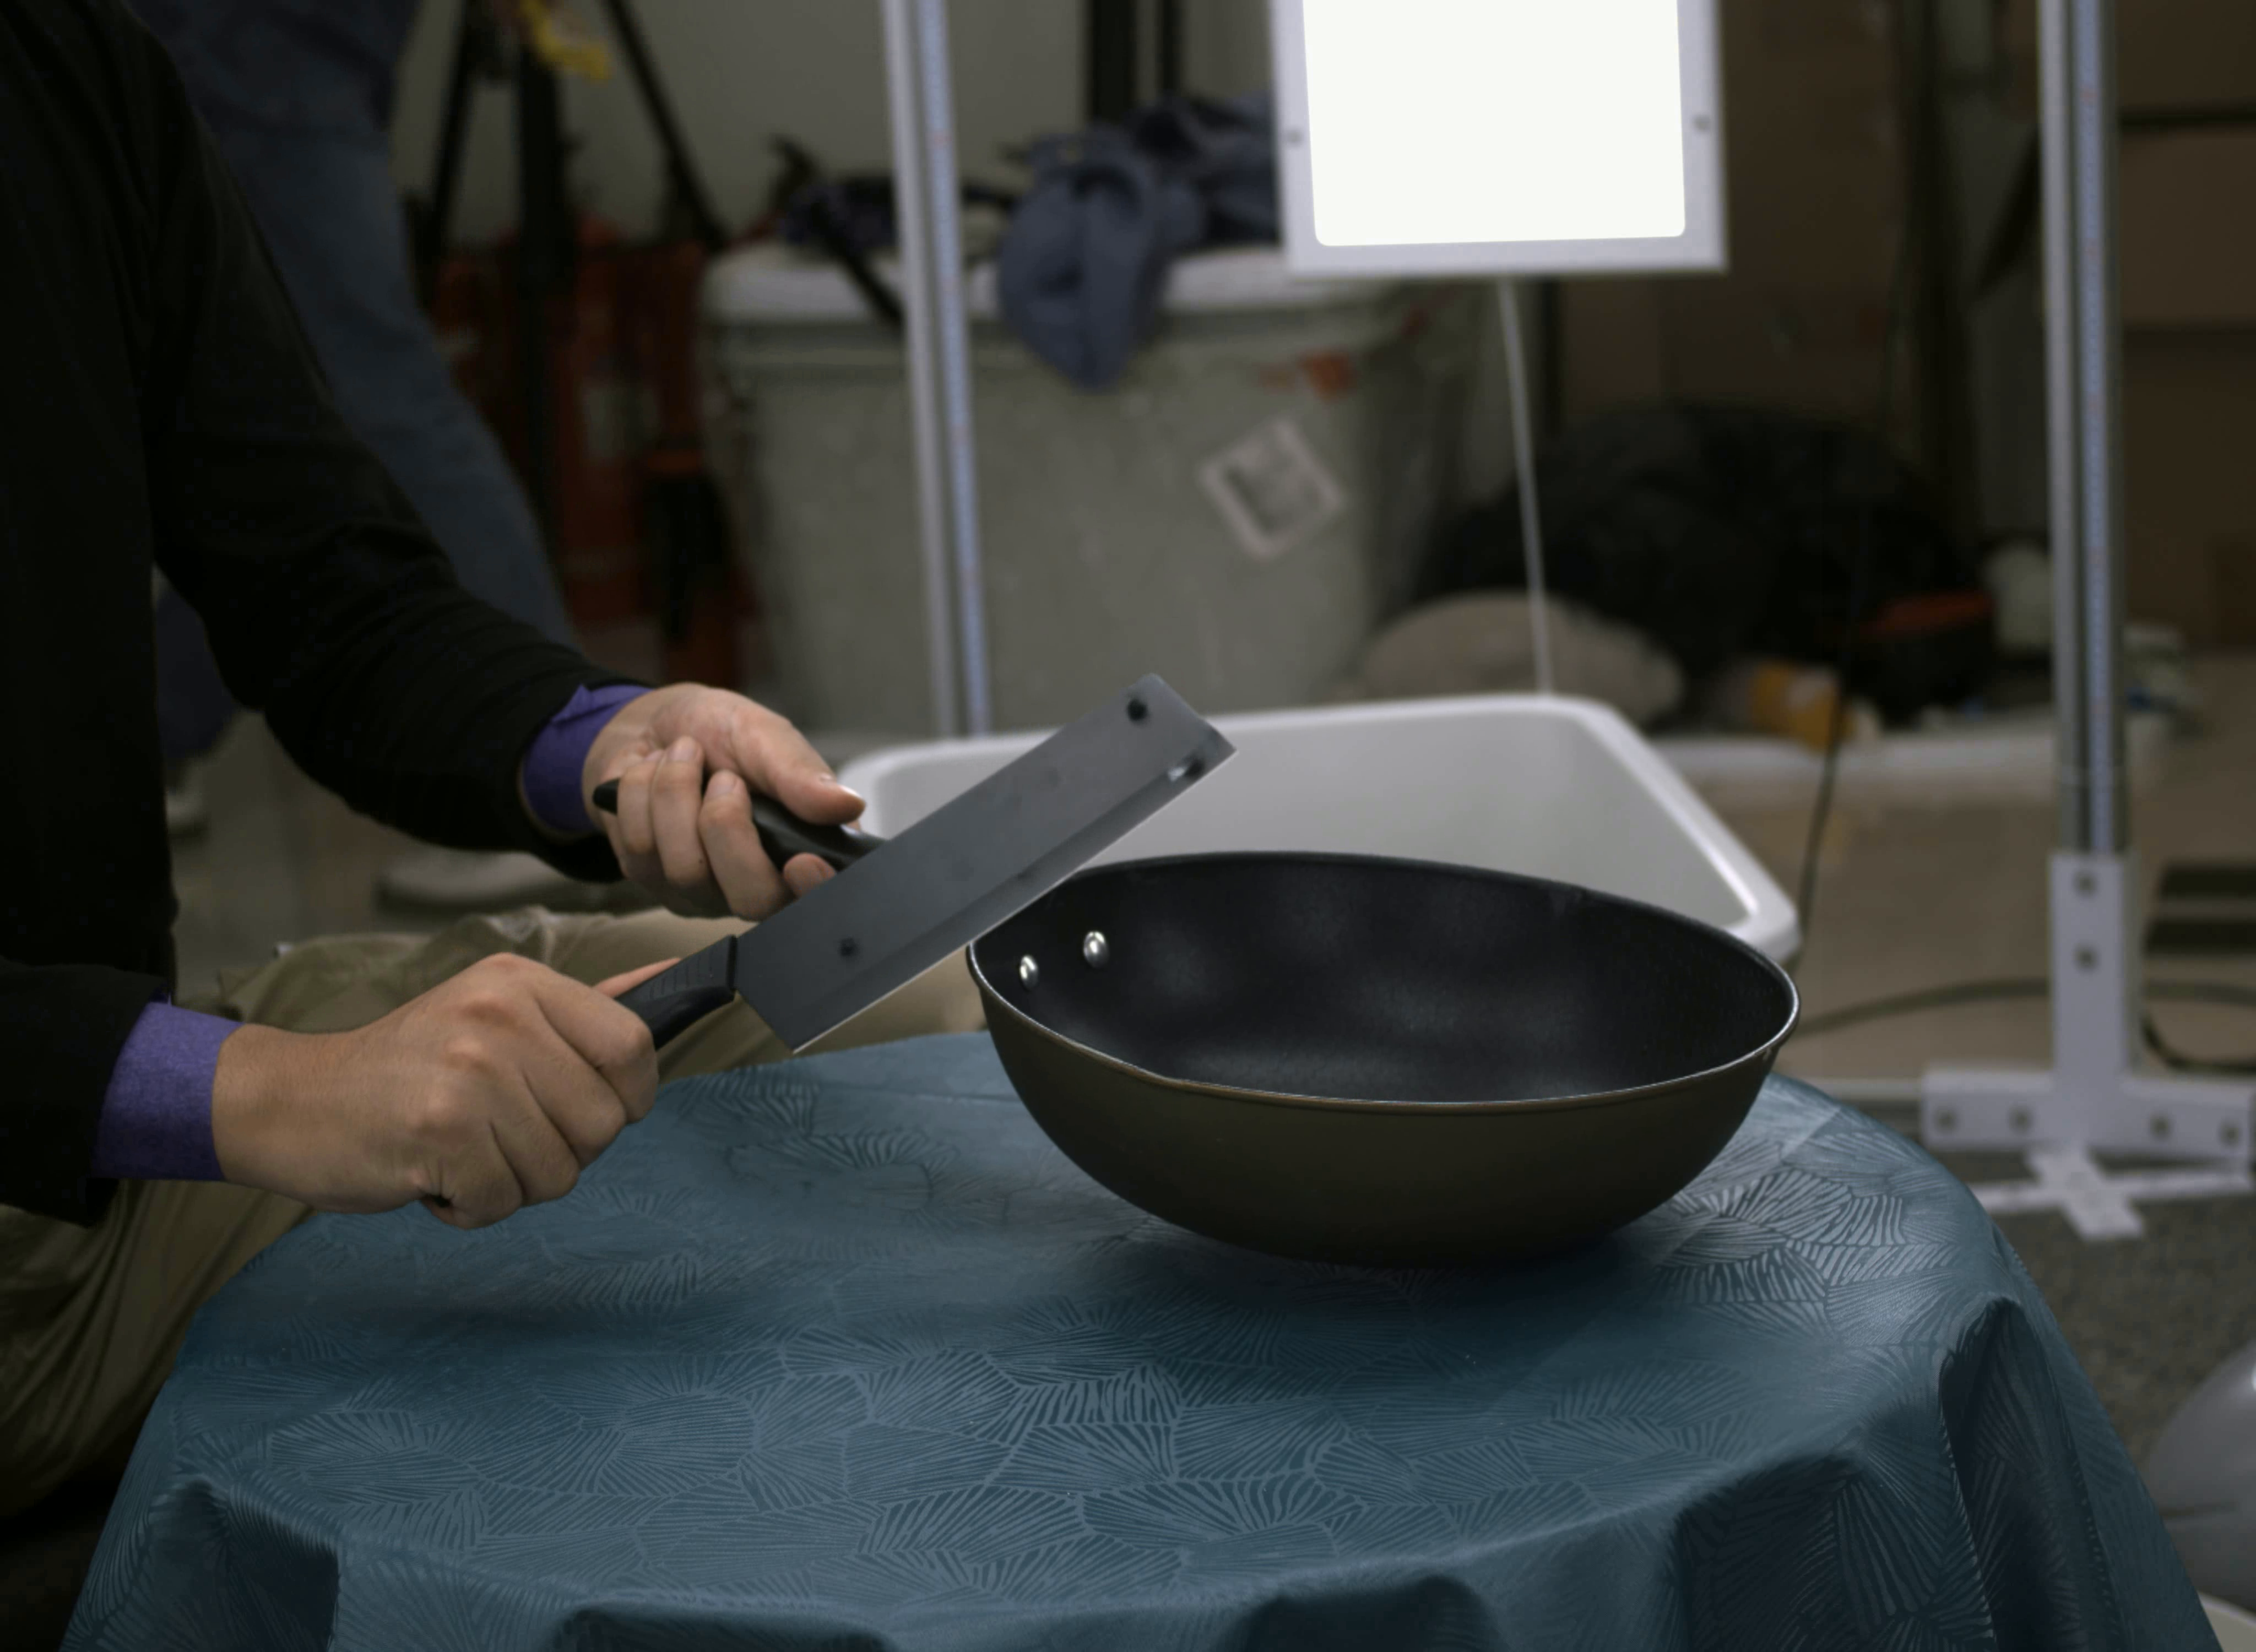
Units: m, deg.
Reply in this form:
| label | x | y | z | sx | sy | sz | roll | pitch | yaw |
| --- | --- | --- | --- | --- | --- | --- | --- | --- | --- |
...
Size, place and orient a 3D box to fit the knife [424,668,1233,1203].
| label | x | y | z | sx | sy | sz | roll | pitch | yaw |
| --- | --- | --- | --- | --- | --- | --- | --- | --- | --- |
| knife | -0.101 | 0.038 | 1.824 | 0.301 | 0.021 | 0.082 | -31 | 39 | -5 |

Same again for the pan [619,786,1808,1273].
| label | x | y | z | sx | sy | sz | roll | pitch | yaw |
| --- | --- | --- | --- | --- | --- | --- | --- | --- | --- |
| pan | 0.007 | 0.067 | 1.881 | 0.472 | 0.087 | 0.281 | 13 | 18 | 32 |
